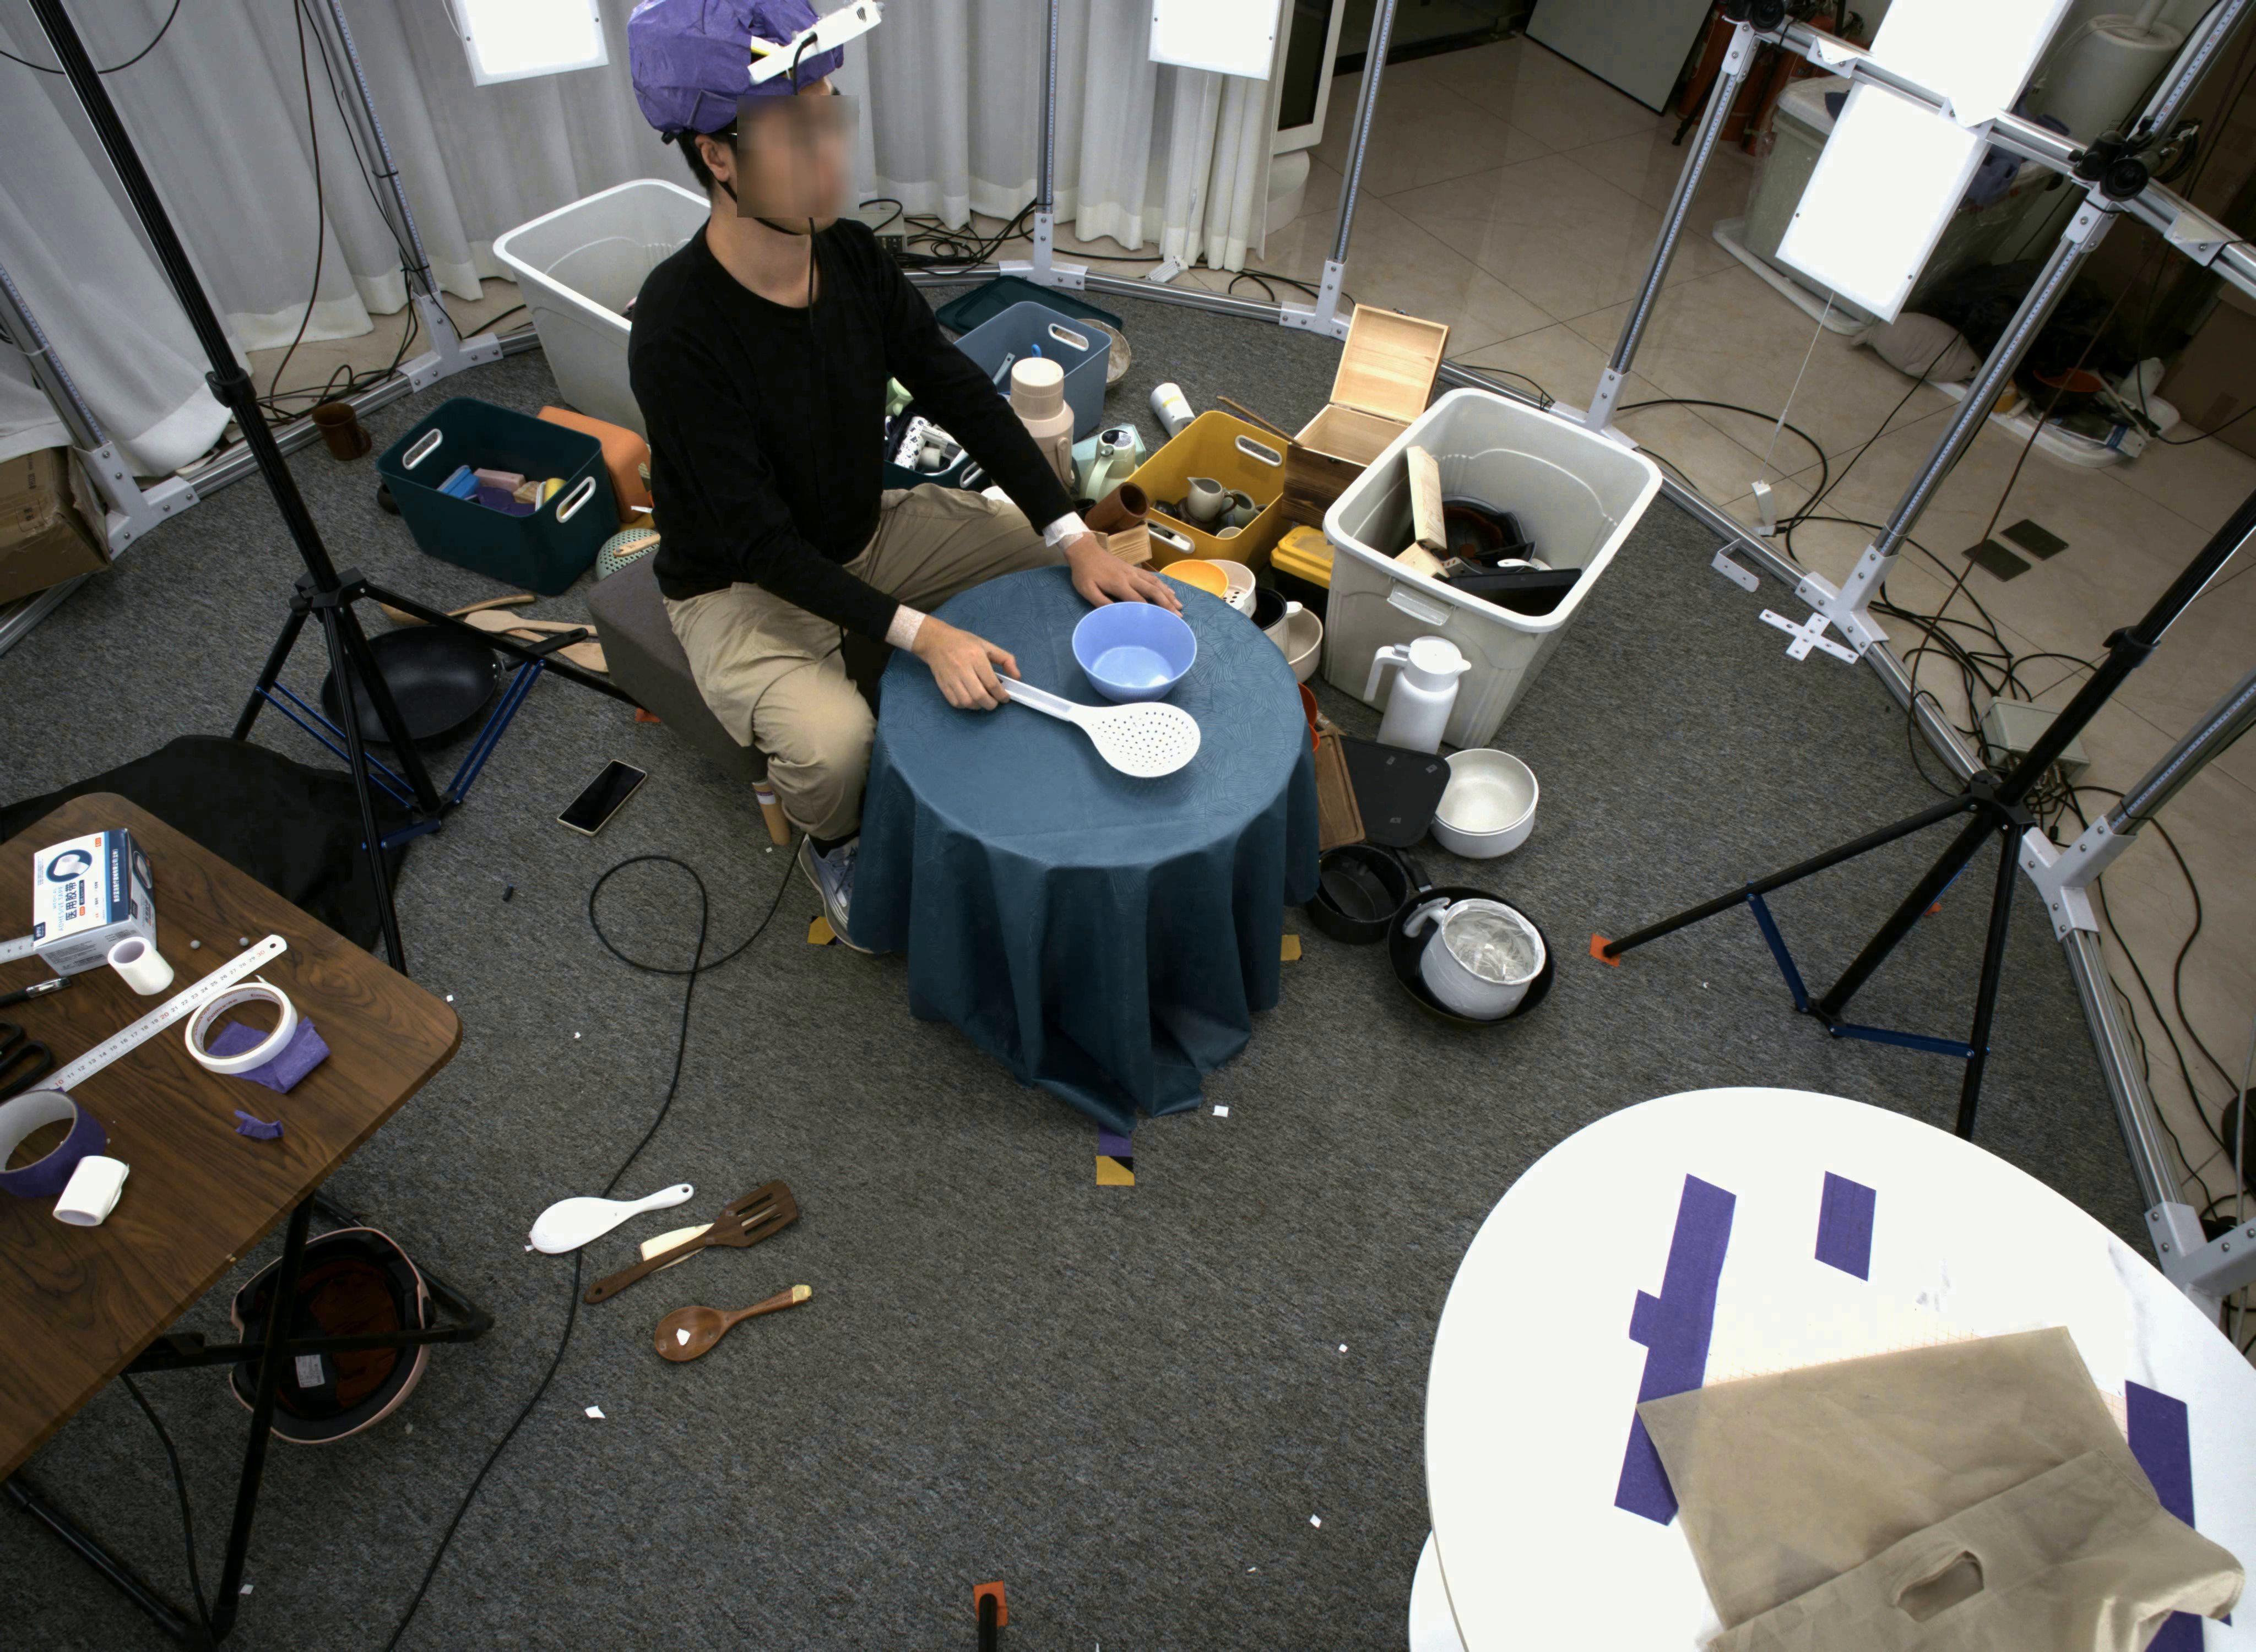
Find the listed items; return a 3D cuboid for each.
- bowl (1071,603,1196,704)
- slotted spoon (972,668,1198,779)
[{"bbox_3d":[0.007,-0.237,1.831,0.176,0.068,0.180,1,49,-2],"label":"bowl"},{"bbox_3d":[-0.066,-0.151,1.766,0.352,0.044,0.138,25,58,18],"label":"slotted spoon"}]
